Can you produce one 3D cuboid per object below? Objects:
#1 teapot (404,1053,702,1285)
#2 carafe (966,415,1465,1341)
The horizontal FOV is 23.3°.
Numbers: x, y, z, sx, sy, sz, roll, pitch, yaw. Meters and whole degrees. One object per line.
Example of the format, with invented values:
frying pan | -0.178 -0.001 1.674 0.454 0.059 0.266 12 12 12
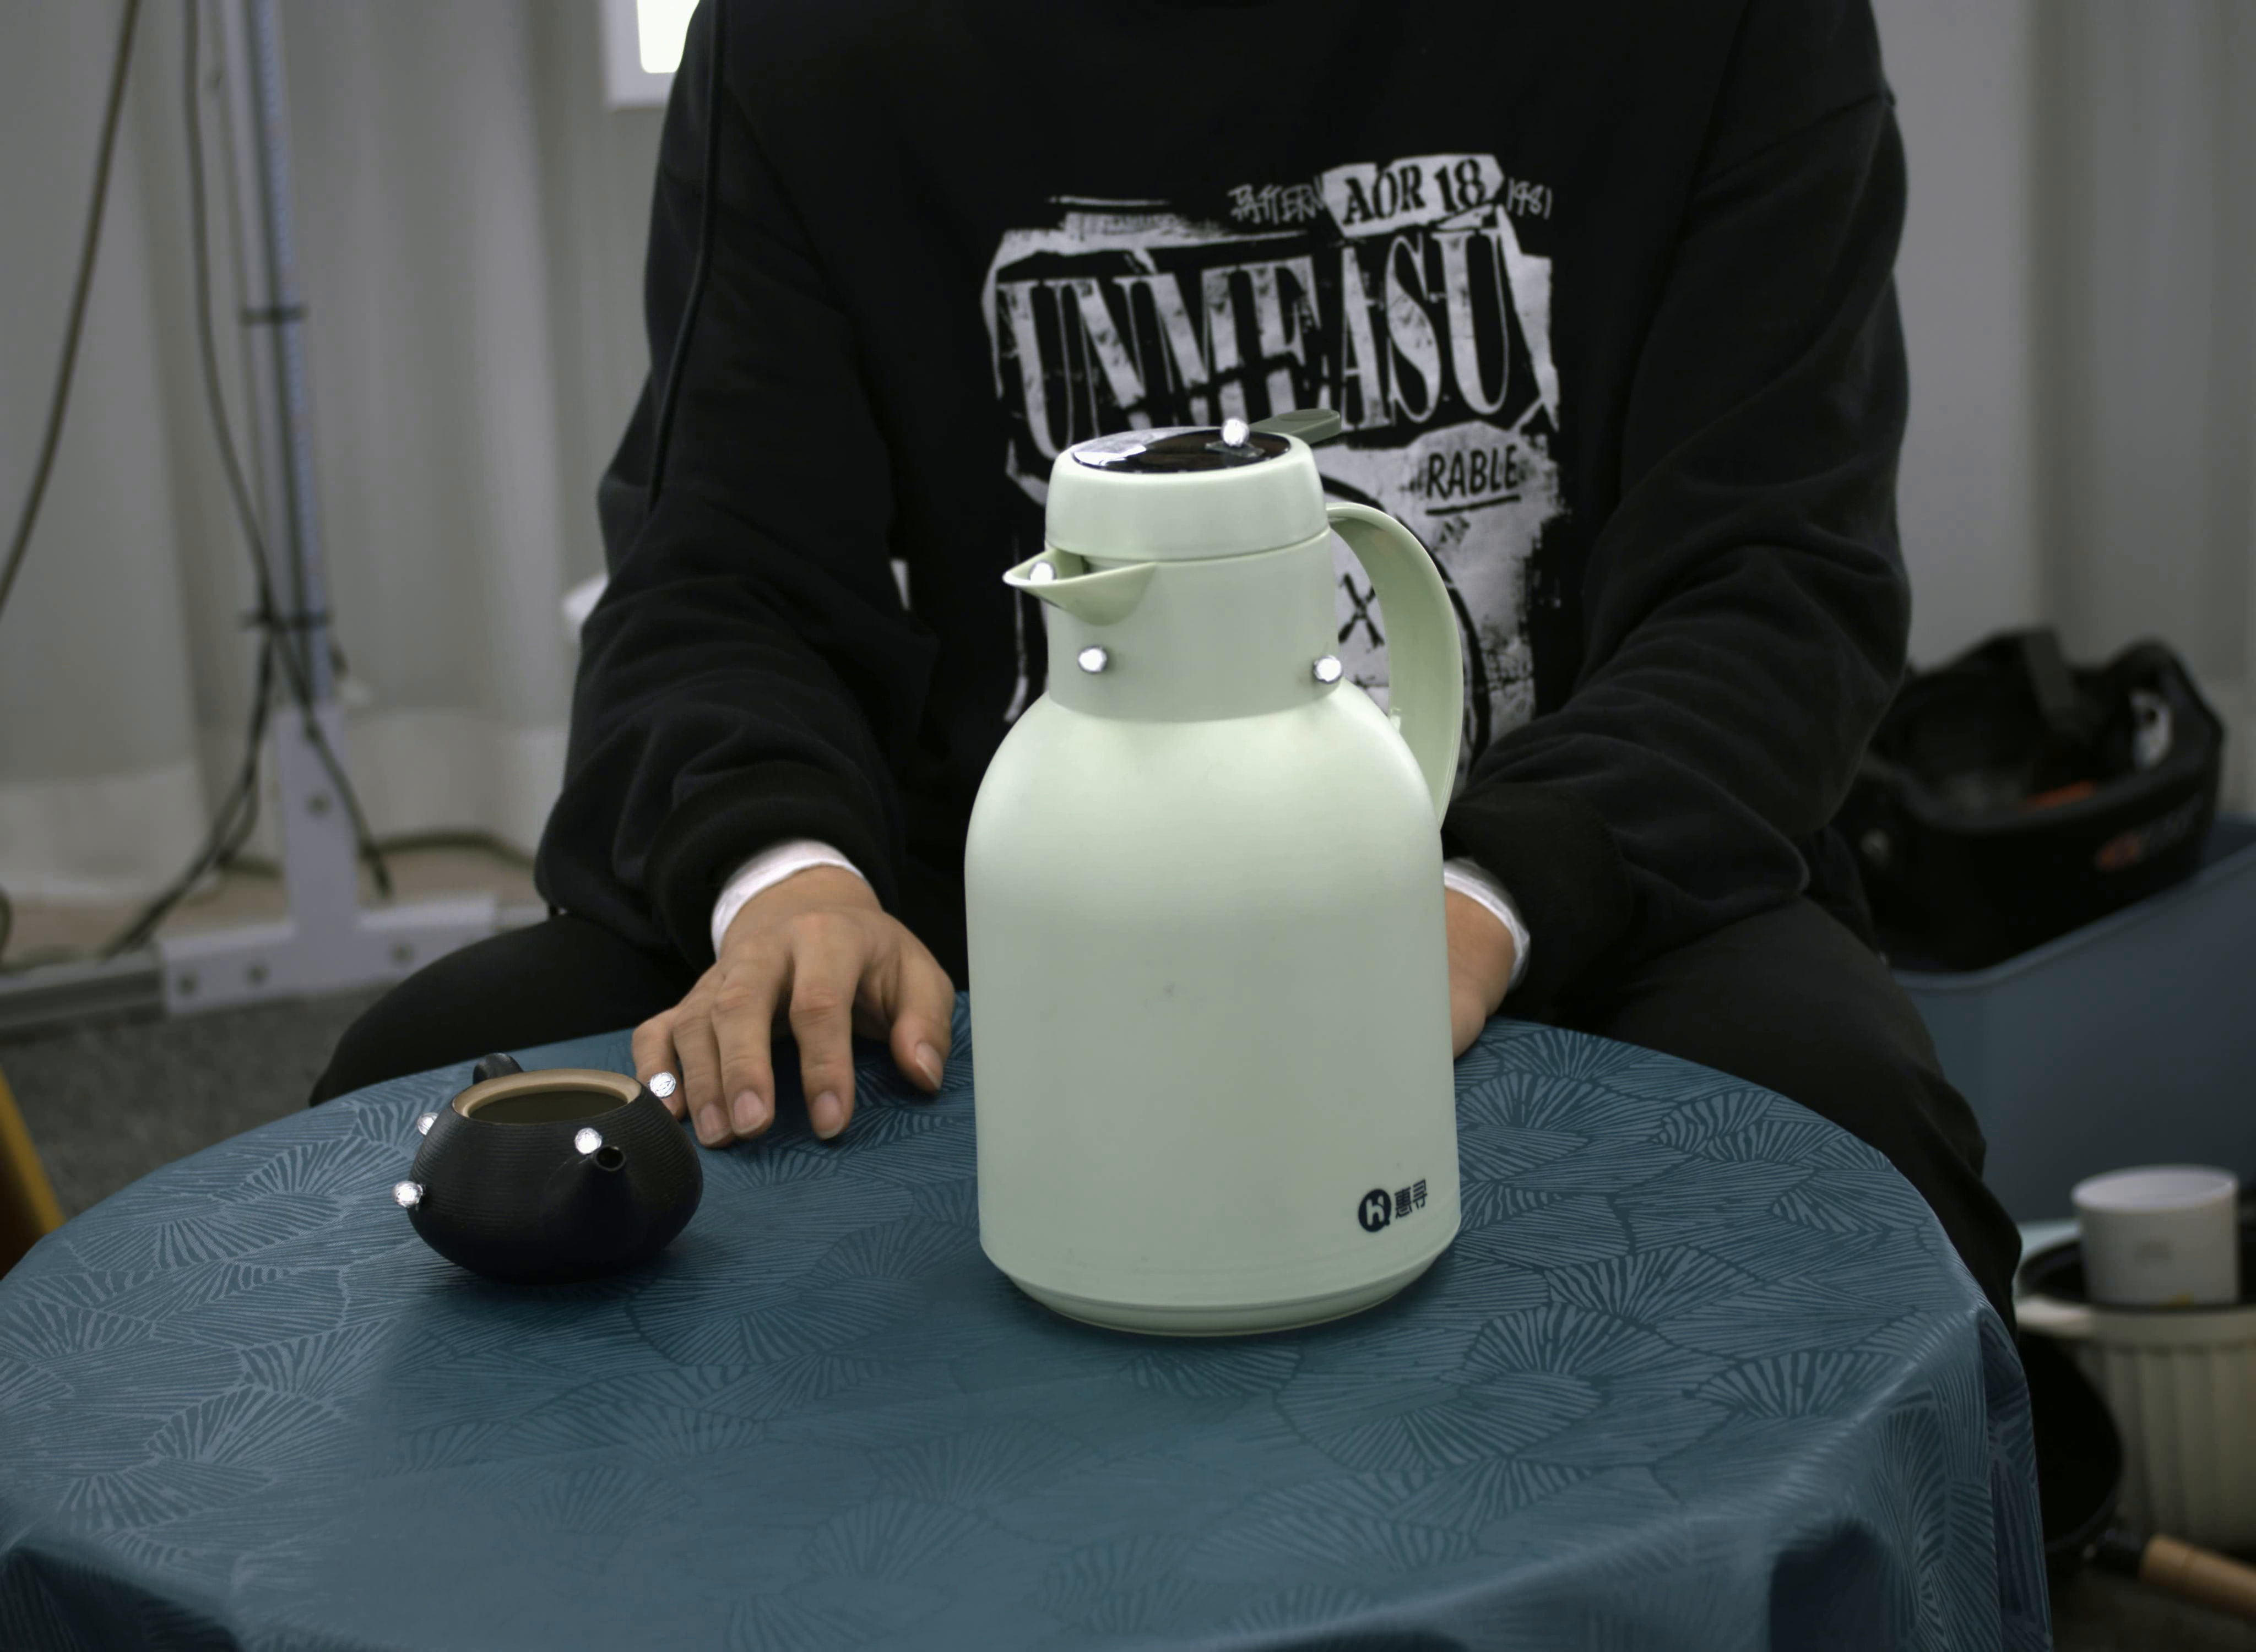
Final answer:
teapot | -0.176 0.107 1.673 0.090 0.053 0.134 -7 15 -22
carafe | 0.032 0.010 1.619 0.145 0.256 0.186 7 13 40
